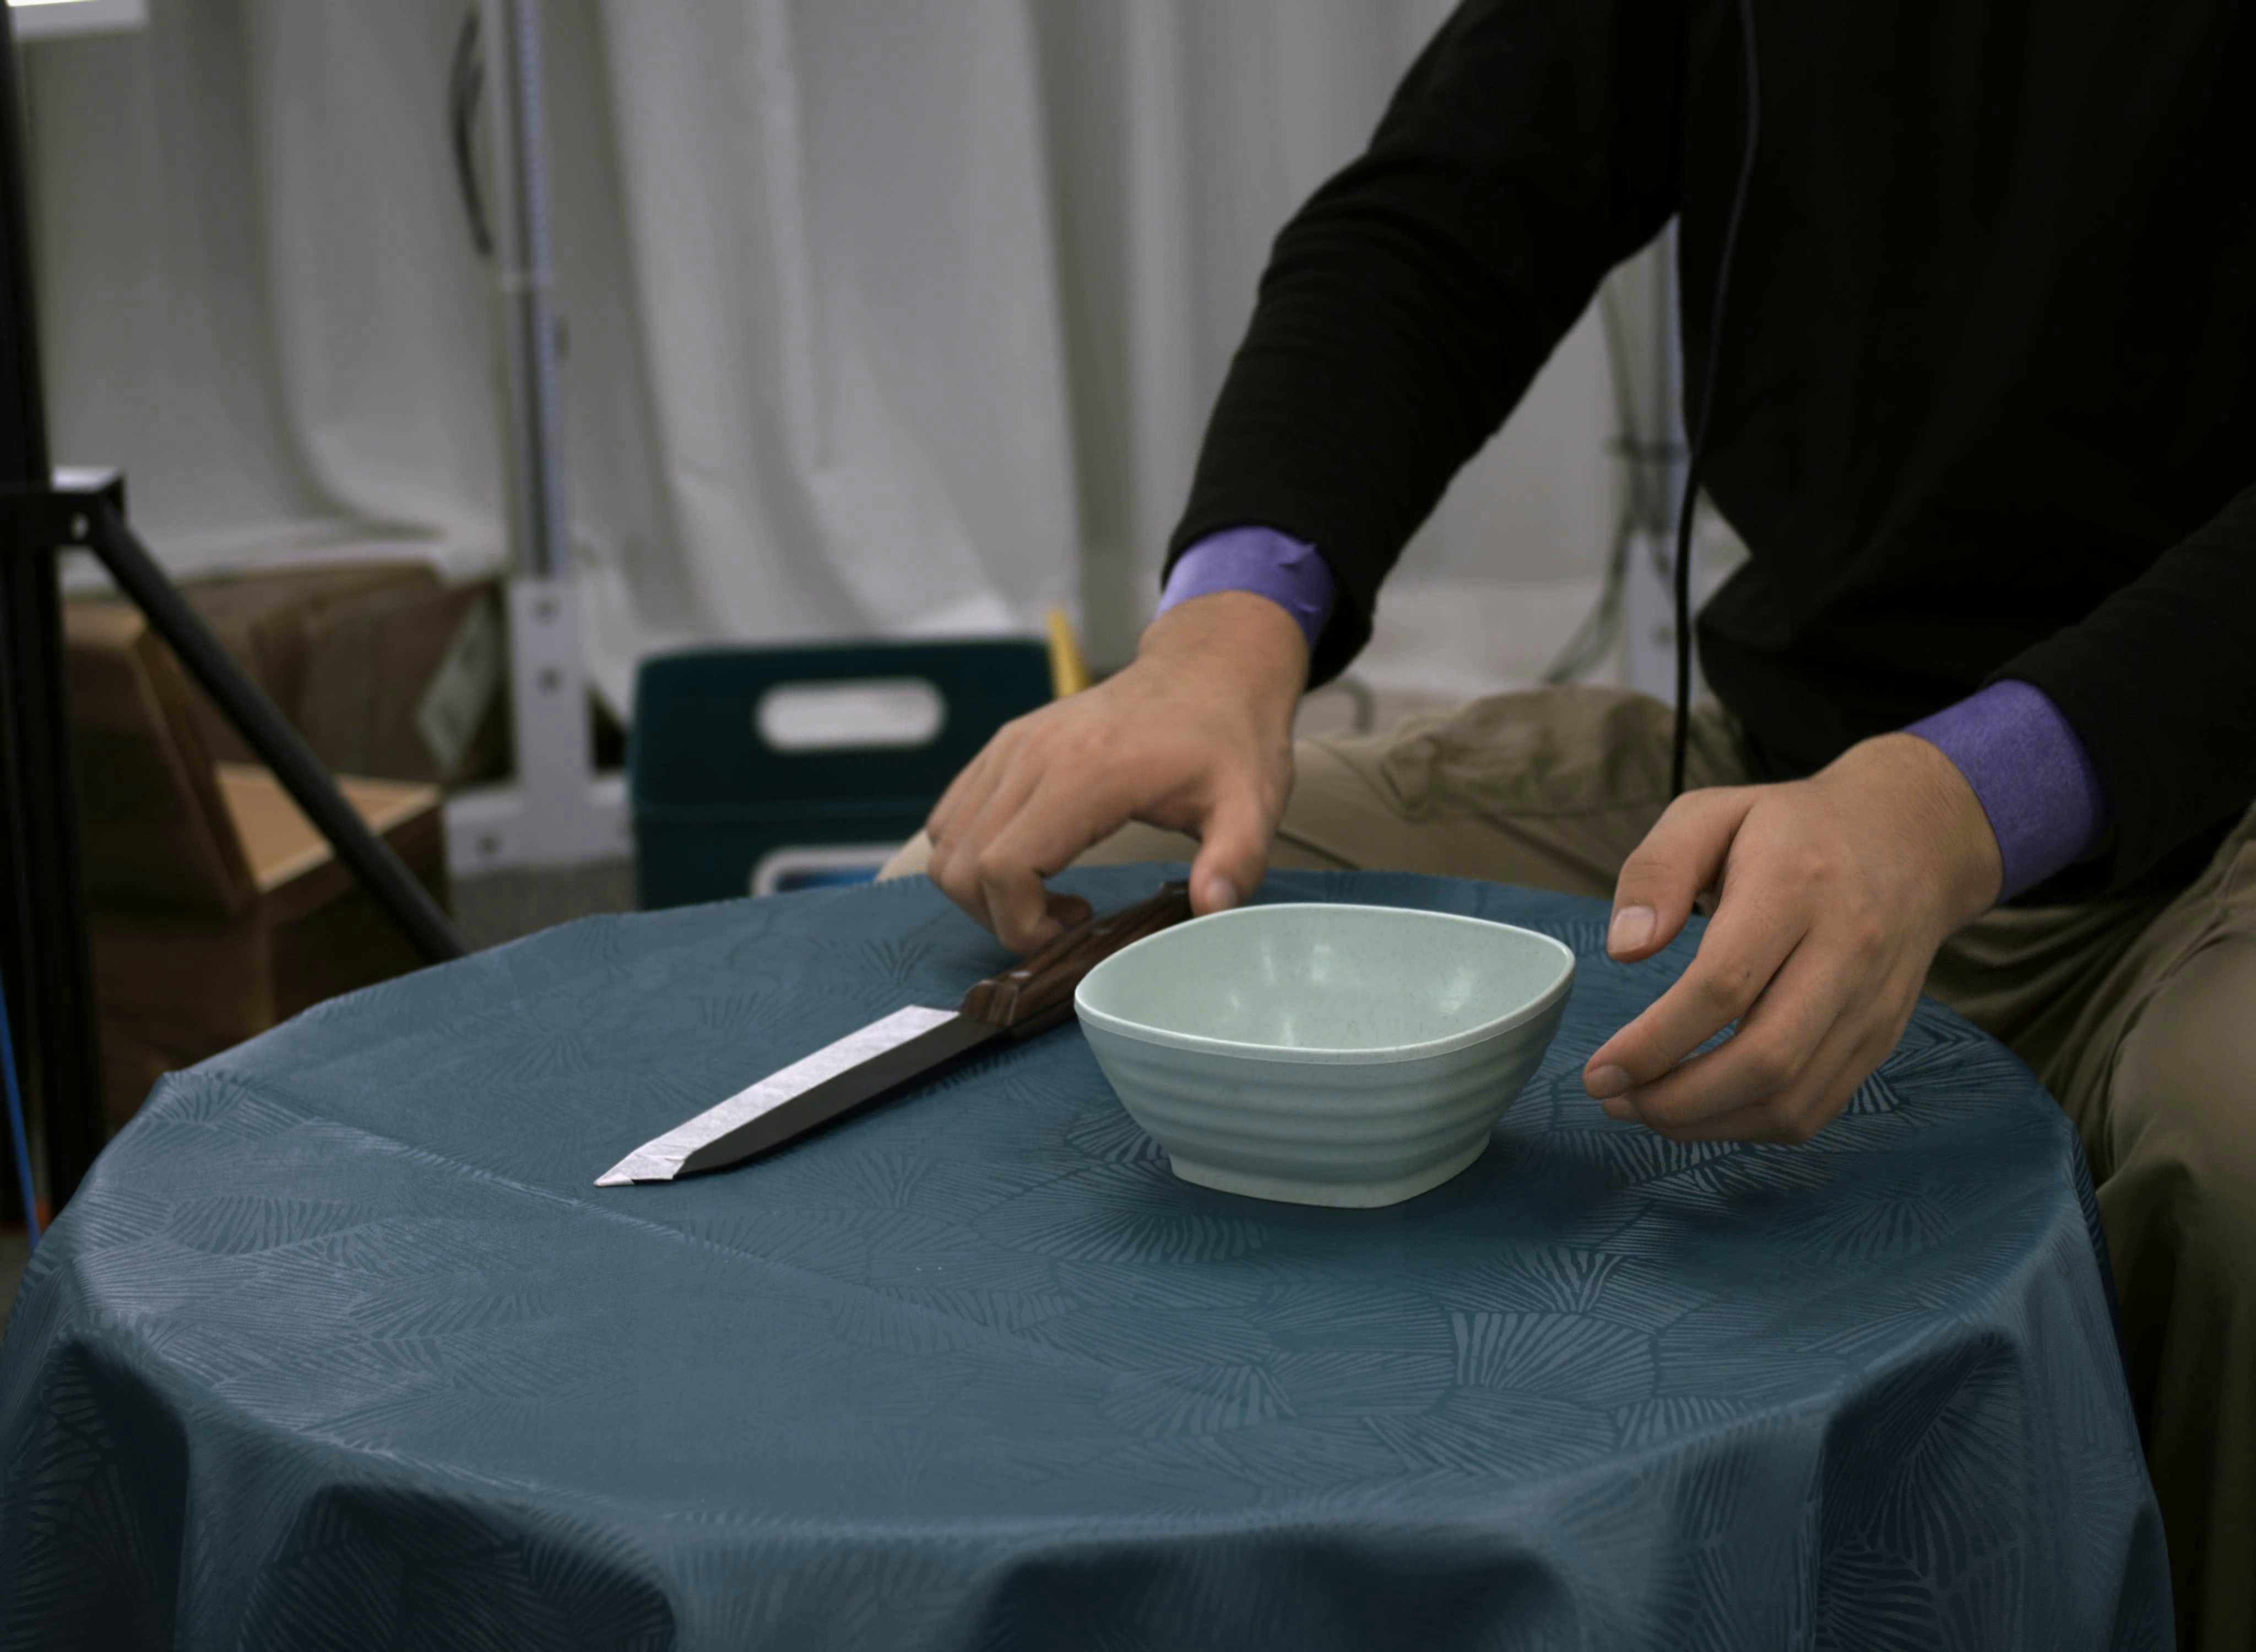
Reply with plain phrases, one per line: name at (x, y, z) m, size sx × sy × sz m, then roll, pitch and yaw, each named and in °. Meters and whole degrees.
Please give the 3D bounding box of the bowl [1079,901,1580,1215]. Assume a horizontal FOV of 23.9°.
bowl at (0.061, 0.072, 1.570) m, size 0.151 × 0.058 × 0.152 m, roll -4°, pitch 17°, yaw 0°

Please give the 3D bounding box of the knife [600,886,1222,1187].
knife at (-0.064, 0.068, 1.681) m, size 0.051 × 0.020 × 0.283 m, roll 6°, pitch 20°, yaw 40°
